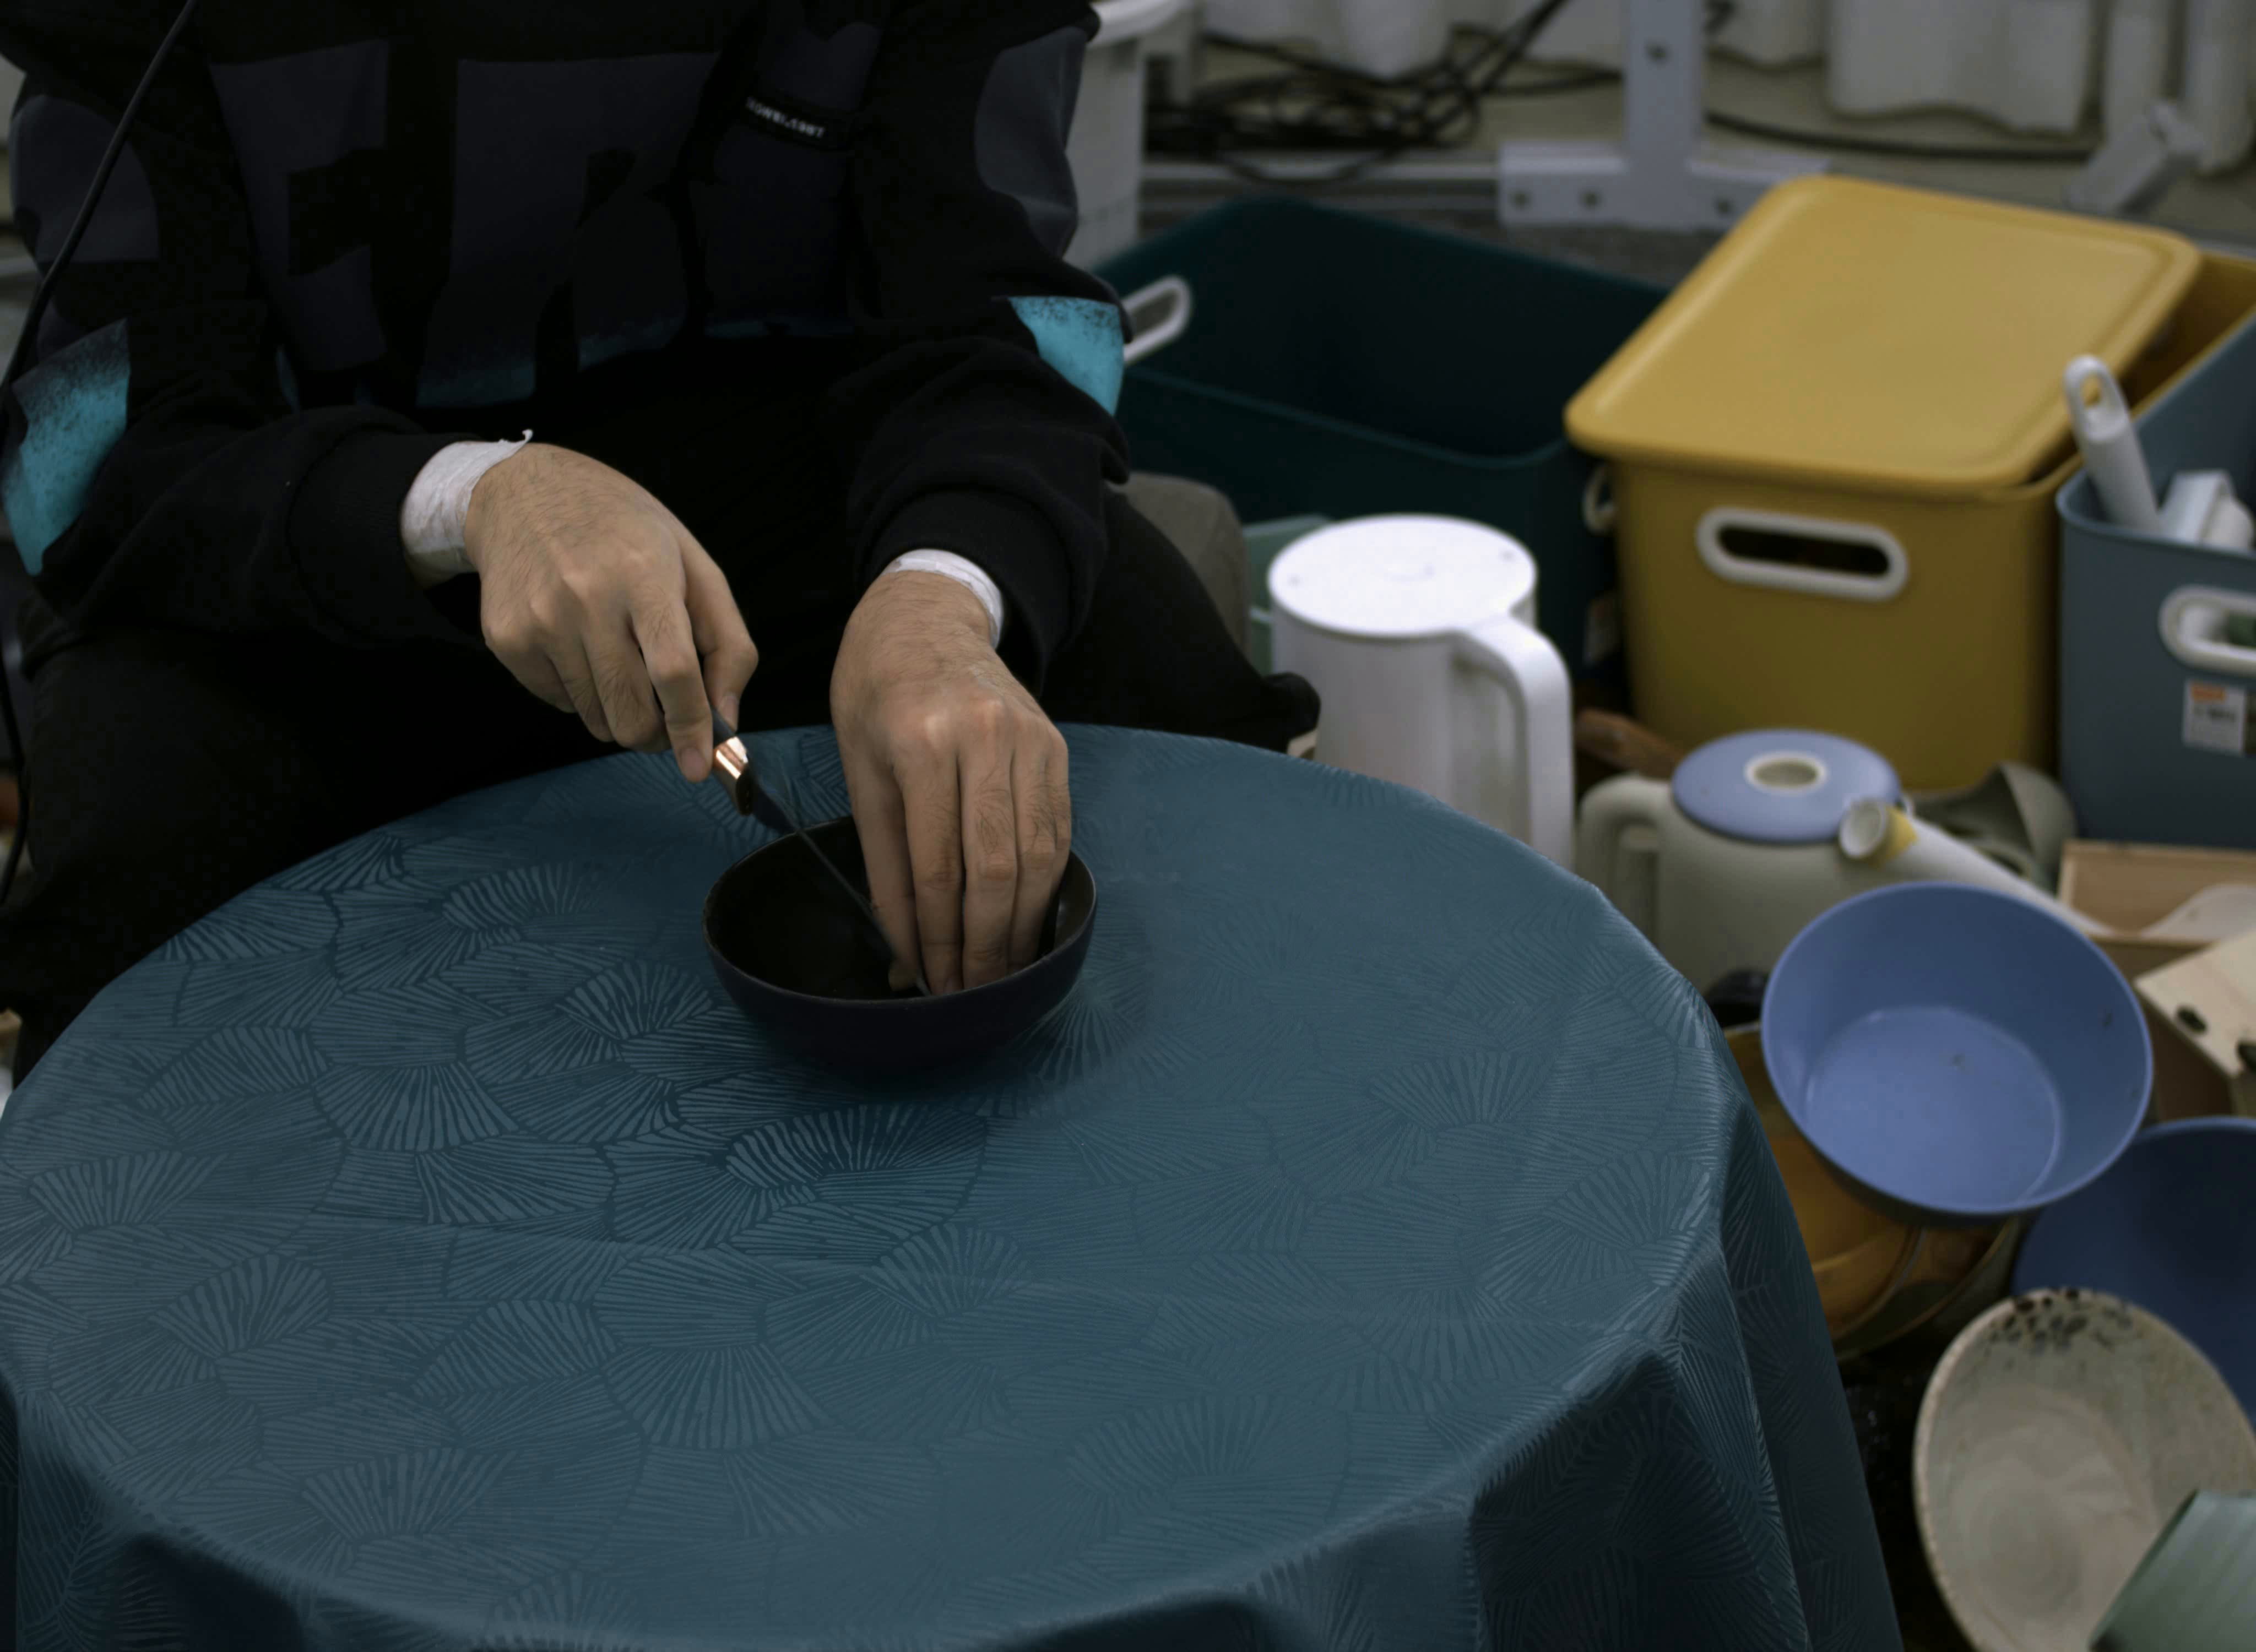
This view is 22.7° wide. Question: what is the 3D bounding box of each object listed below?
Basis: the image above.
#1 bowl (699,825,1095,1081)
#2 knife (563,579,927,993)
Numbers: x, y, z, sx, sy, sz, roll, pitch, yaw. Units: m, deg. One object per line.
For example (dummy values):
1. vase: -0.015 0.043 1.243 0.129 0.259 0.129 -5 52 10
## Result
1. bowl: -0.078 0.051 1.959 0.139 0.049 0.142 -5 24 3
2. knife: -0.131 -0.010 1.973 0.017 0.026 0.227 -29 60 -25
